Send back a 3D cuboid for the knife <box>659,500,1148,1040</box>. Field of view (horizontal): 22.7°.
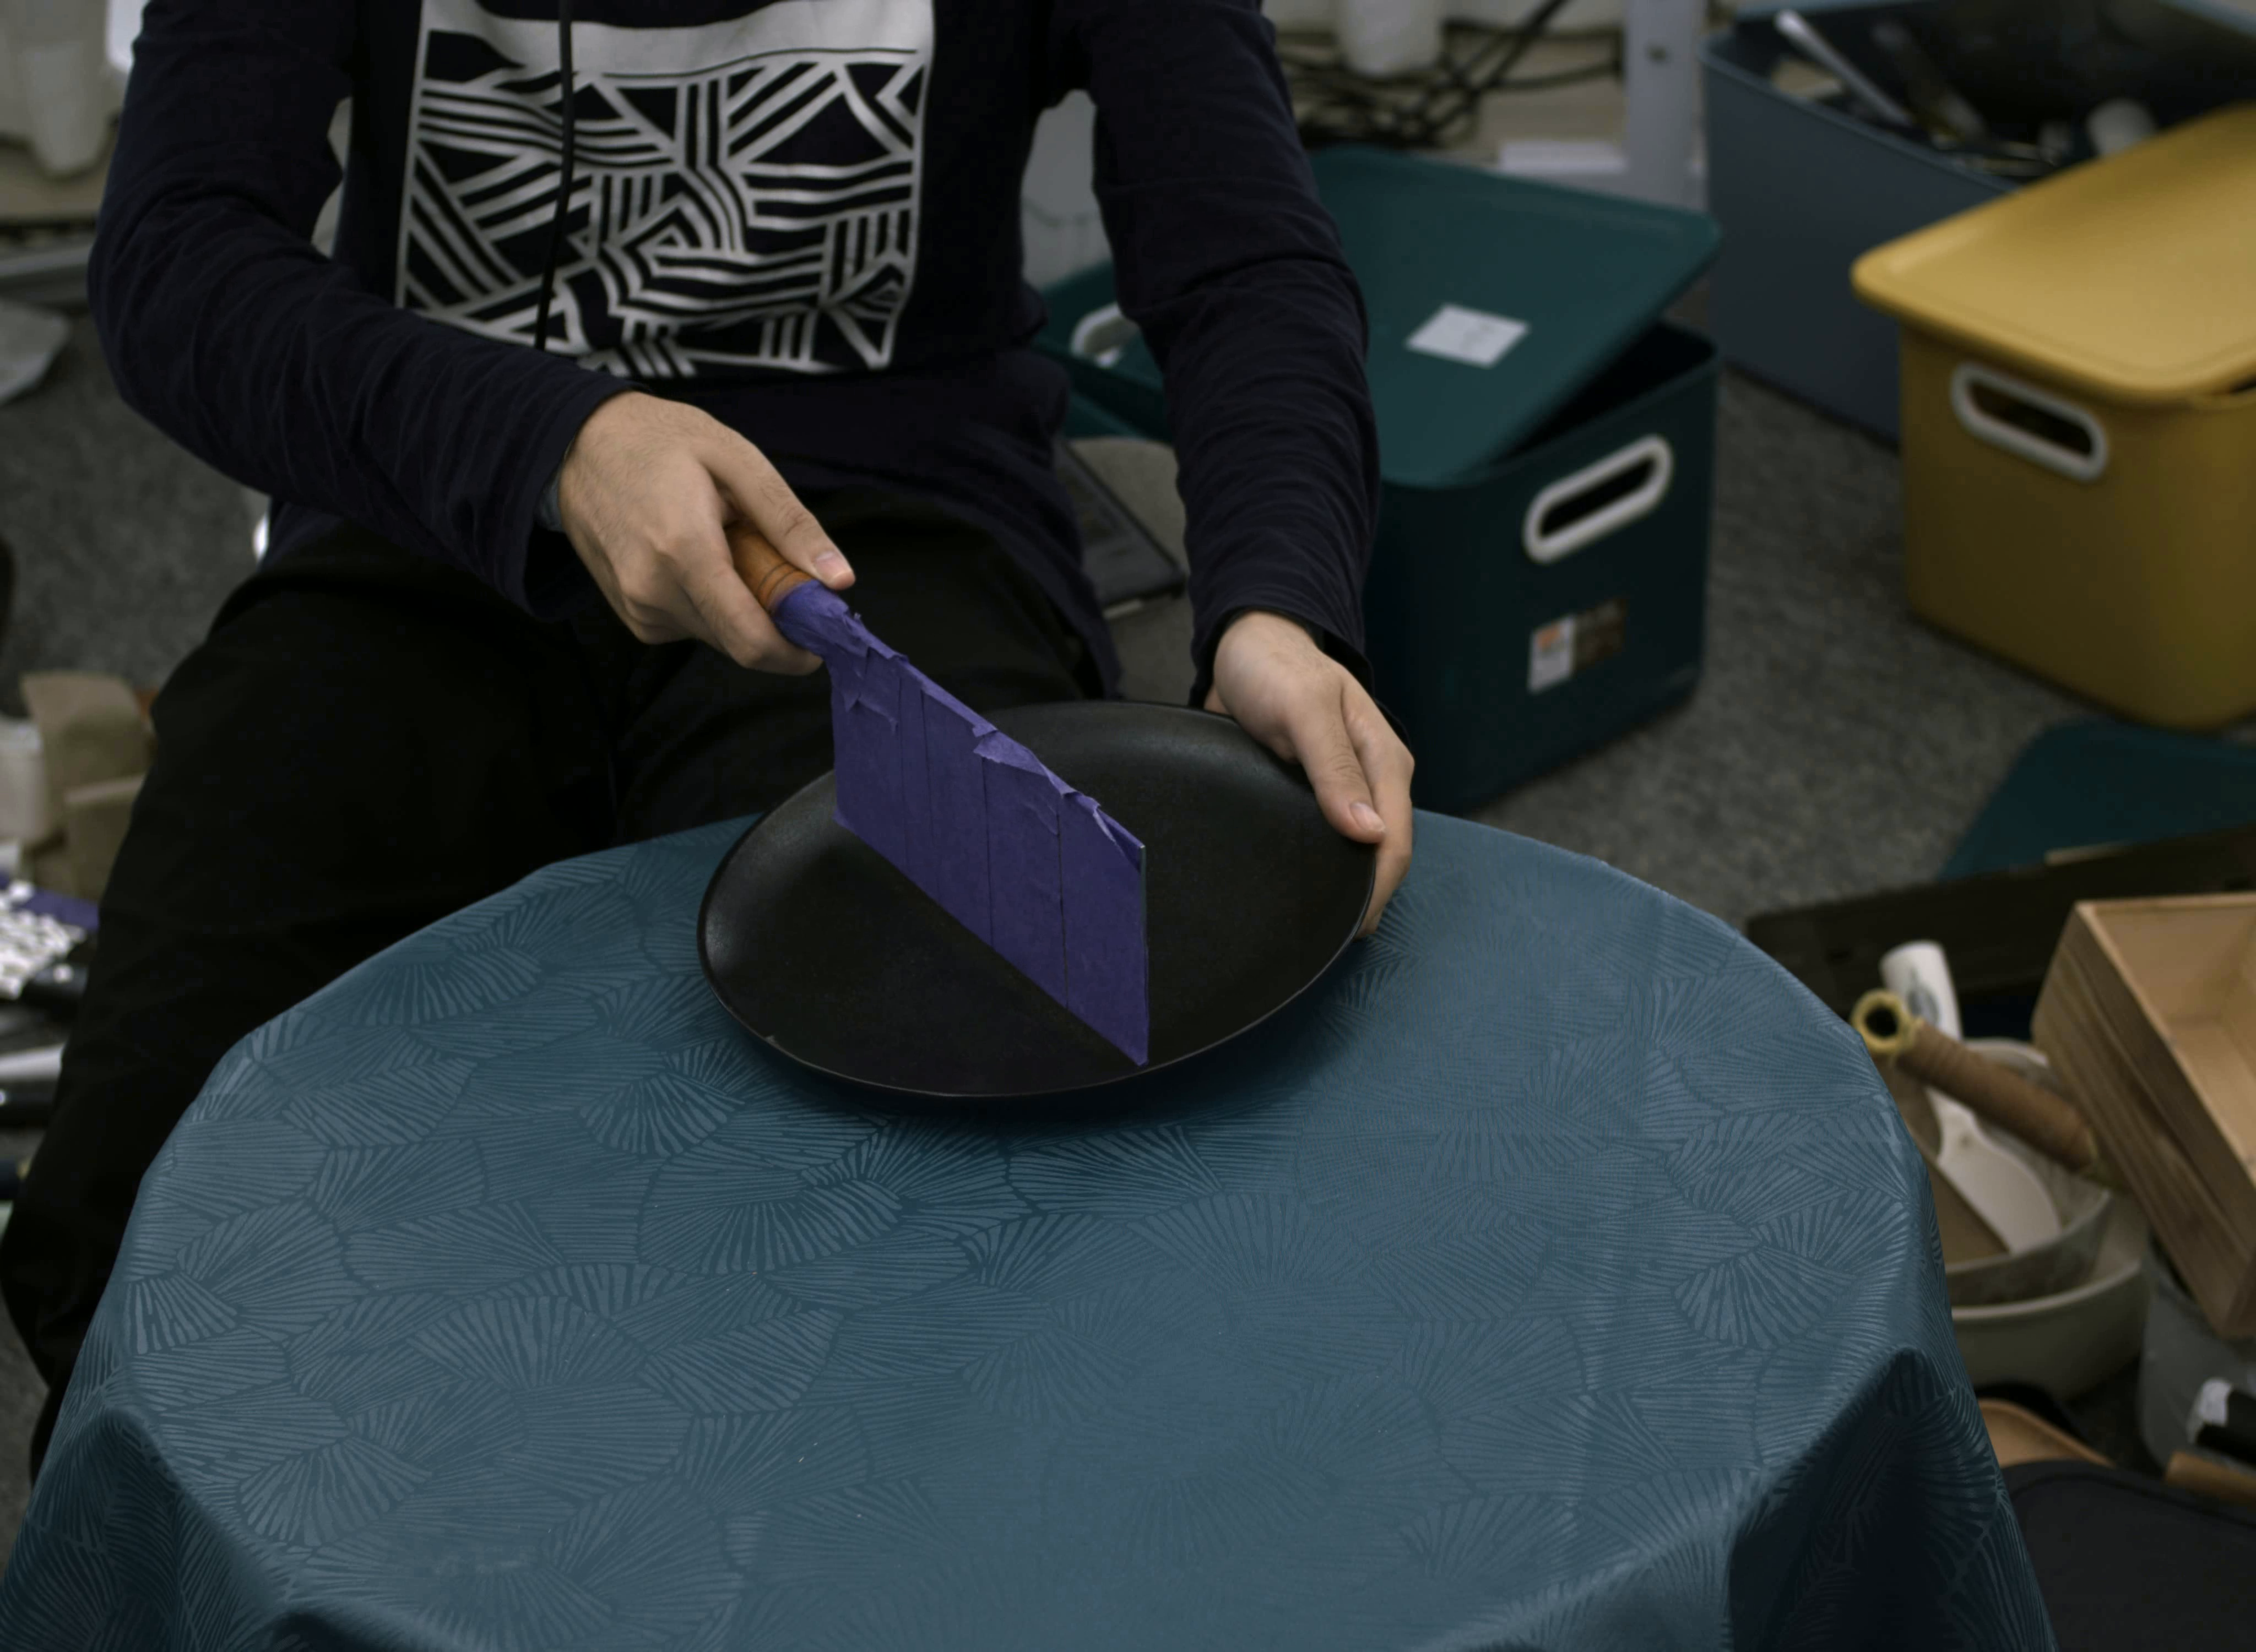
[{"bbox_3d":[-0.082,-0.019,1.983,0.032,0.103,0.317,-14,31,-27],"label":"knife"}]

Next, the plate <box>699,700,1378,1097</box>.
[{"bbox_3d":[-0.031,0.030,1.993,0.243,0.023,0.248,-6,32,4],"label":"plate"}]
